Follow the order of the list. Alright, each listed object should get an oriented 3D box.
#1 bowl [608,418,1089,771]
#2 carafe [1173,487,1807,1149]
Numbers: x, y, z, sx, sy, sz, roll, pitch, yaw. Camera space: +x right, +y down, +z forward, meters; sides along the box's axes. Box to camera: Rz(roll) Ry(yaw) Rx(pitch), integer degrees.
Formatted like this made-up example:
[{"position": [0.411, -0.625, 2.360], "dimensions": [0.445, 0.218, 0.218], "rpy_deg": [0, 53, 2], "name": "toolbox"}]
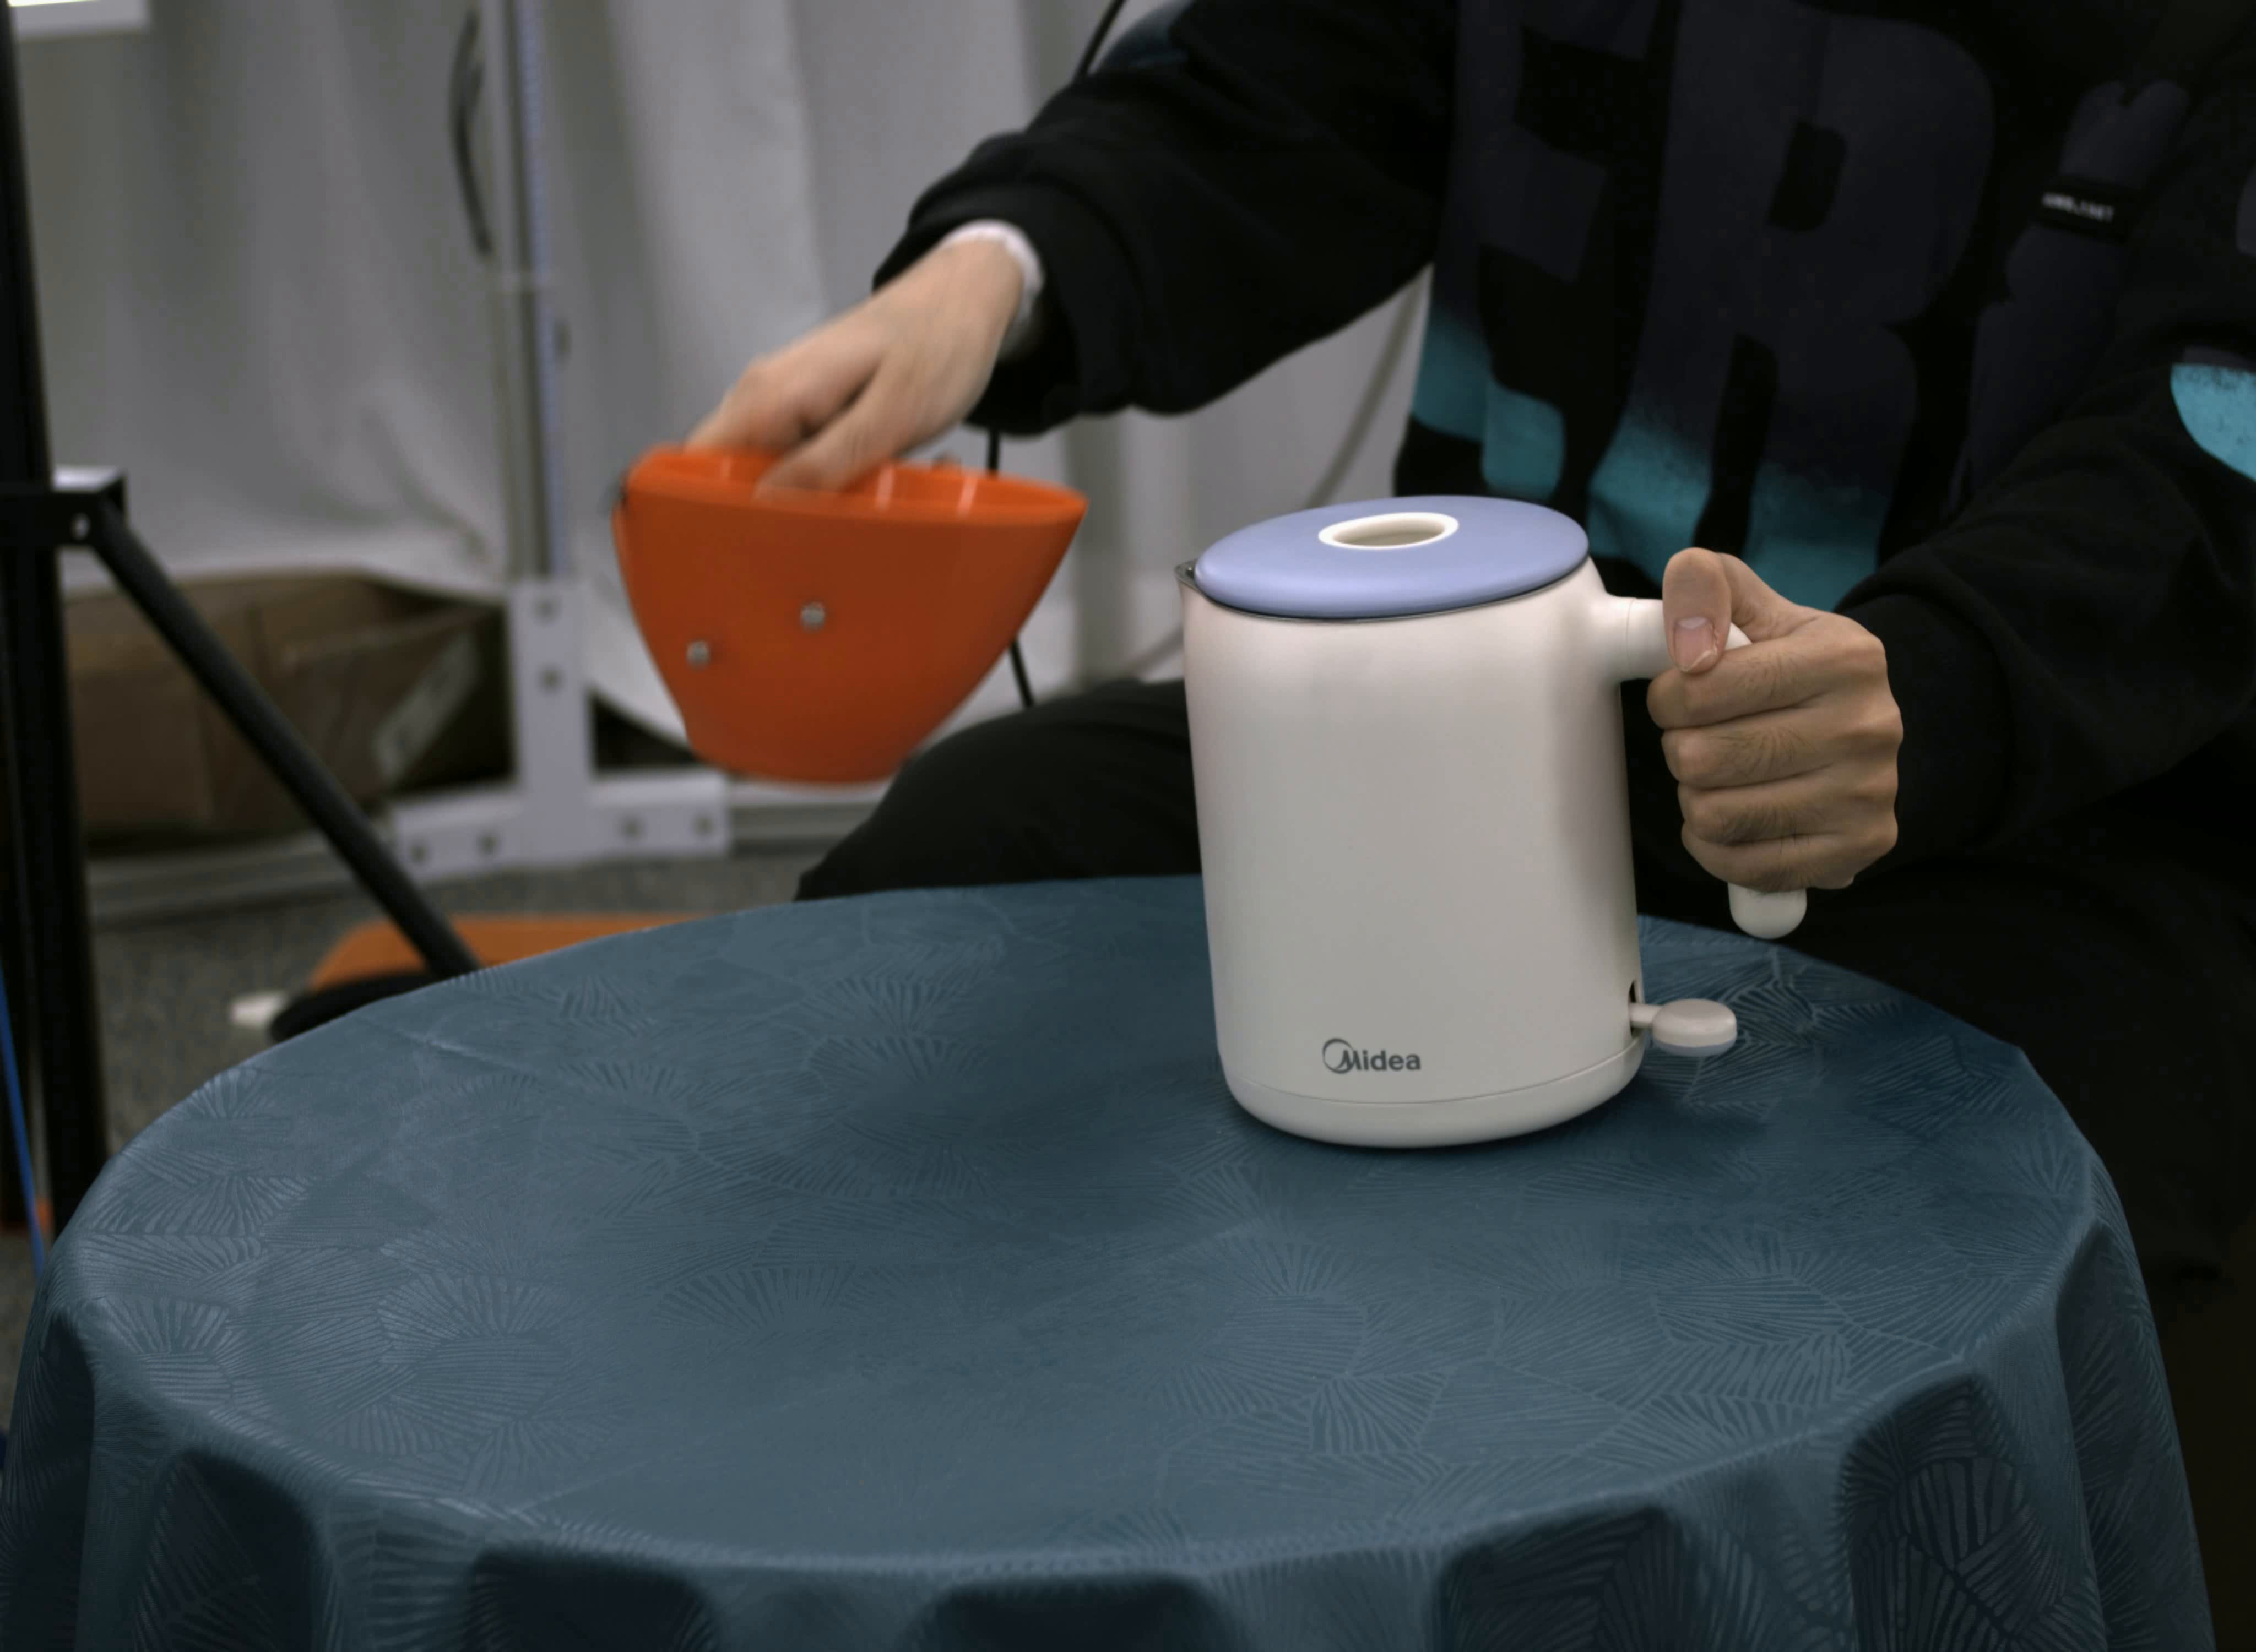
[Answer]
[{"position": [-0.092, -0.073, 1.628], "dimensions": [0.147, 0.105, 0.149], "rpy_deg": [10, 17, -4], "name": "bowl"}, {"position": [0.109, -0.002, 1.600], "dimensions": [0.193, 0.182, 0.131], "rpy_deg": [2, 19, 18], "name": "carafe"}]
